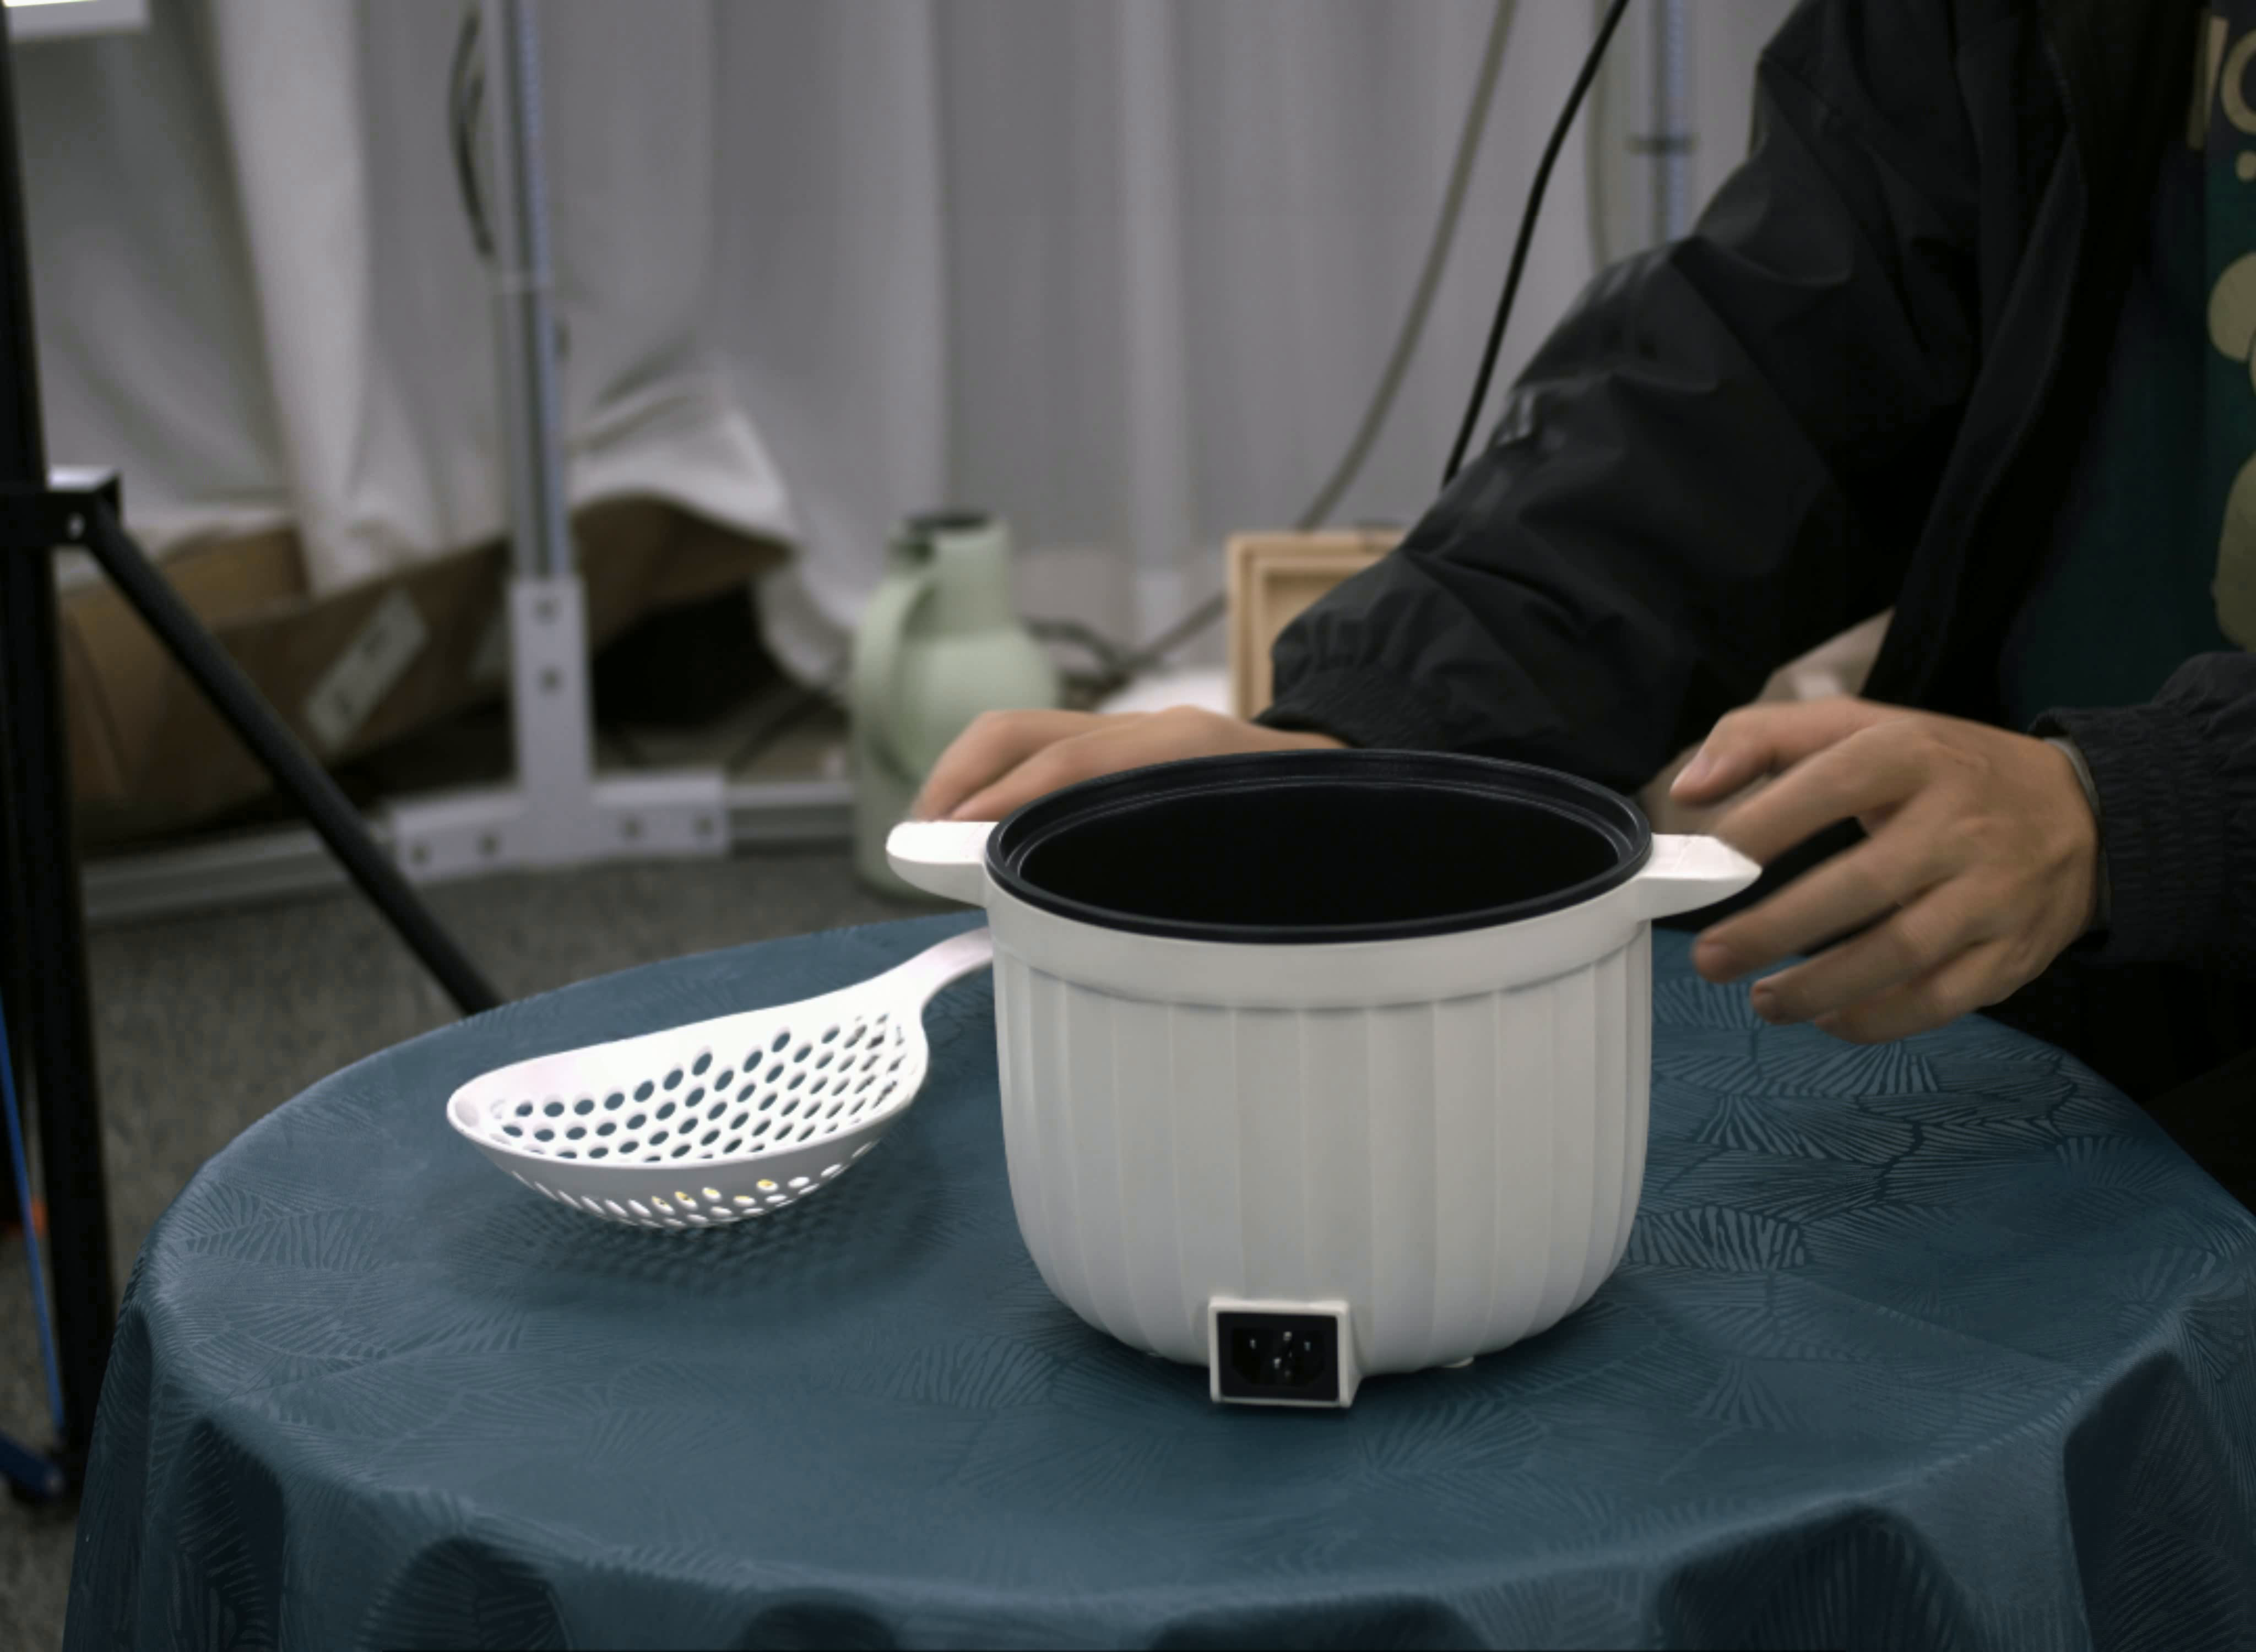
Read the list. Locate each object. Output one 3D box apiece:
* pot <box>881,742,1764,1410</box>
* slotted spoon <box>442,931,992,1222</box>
[{"bbox_3d":[0.052,0.064,1.453,0.241,0.142,0.190,2,19,11],"label":"pot"},{"bbox_3d":[-0.081,0.064,1.647,0.139,0.050,0.342,3,17,26],"label":"slotted spoon"}]
